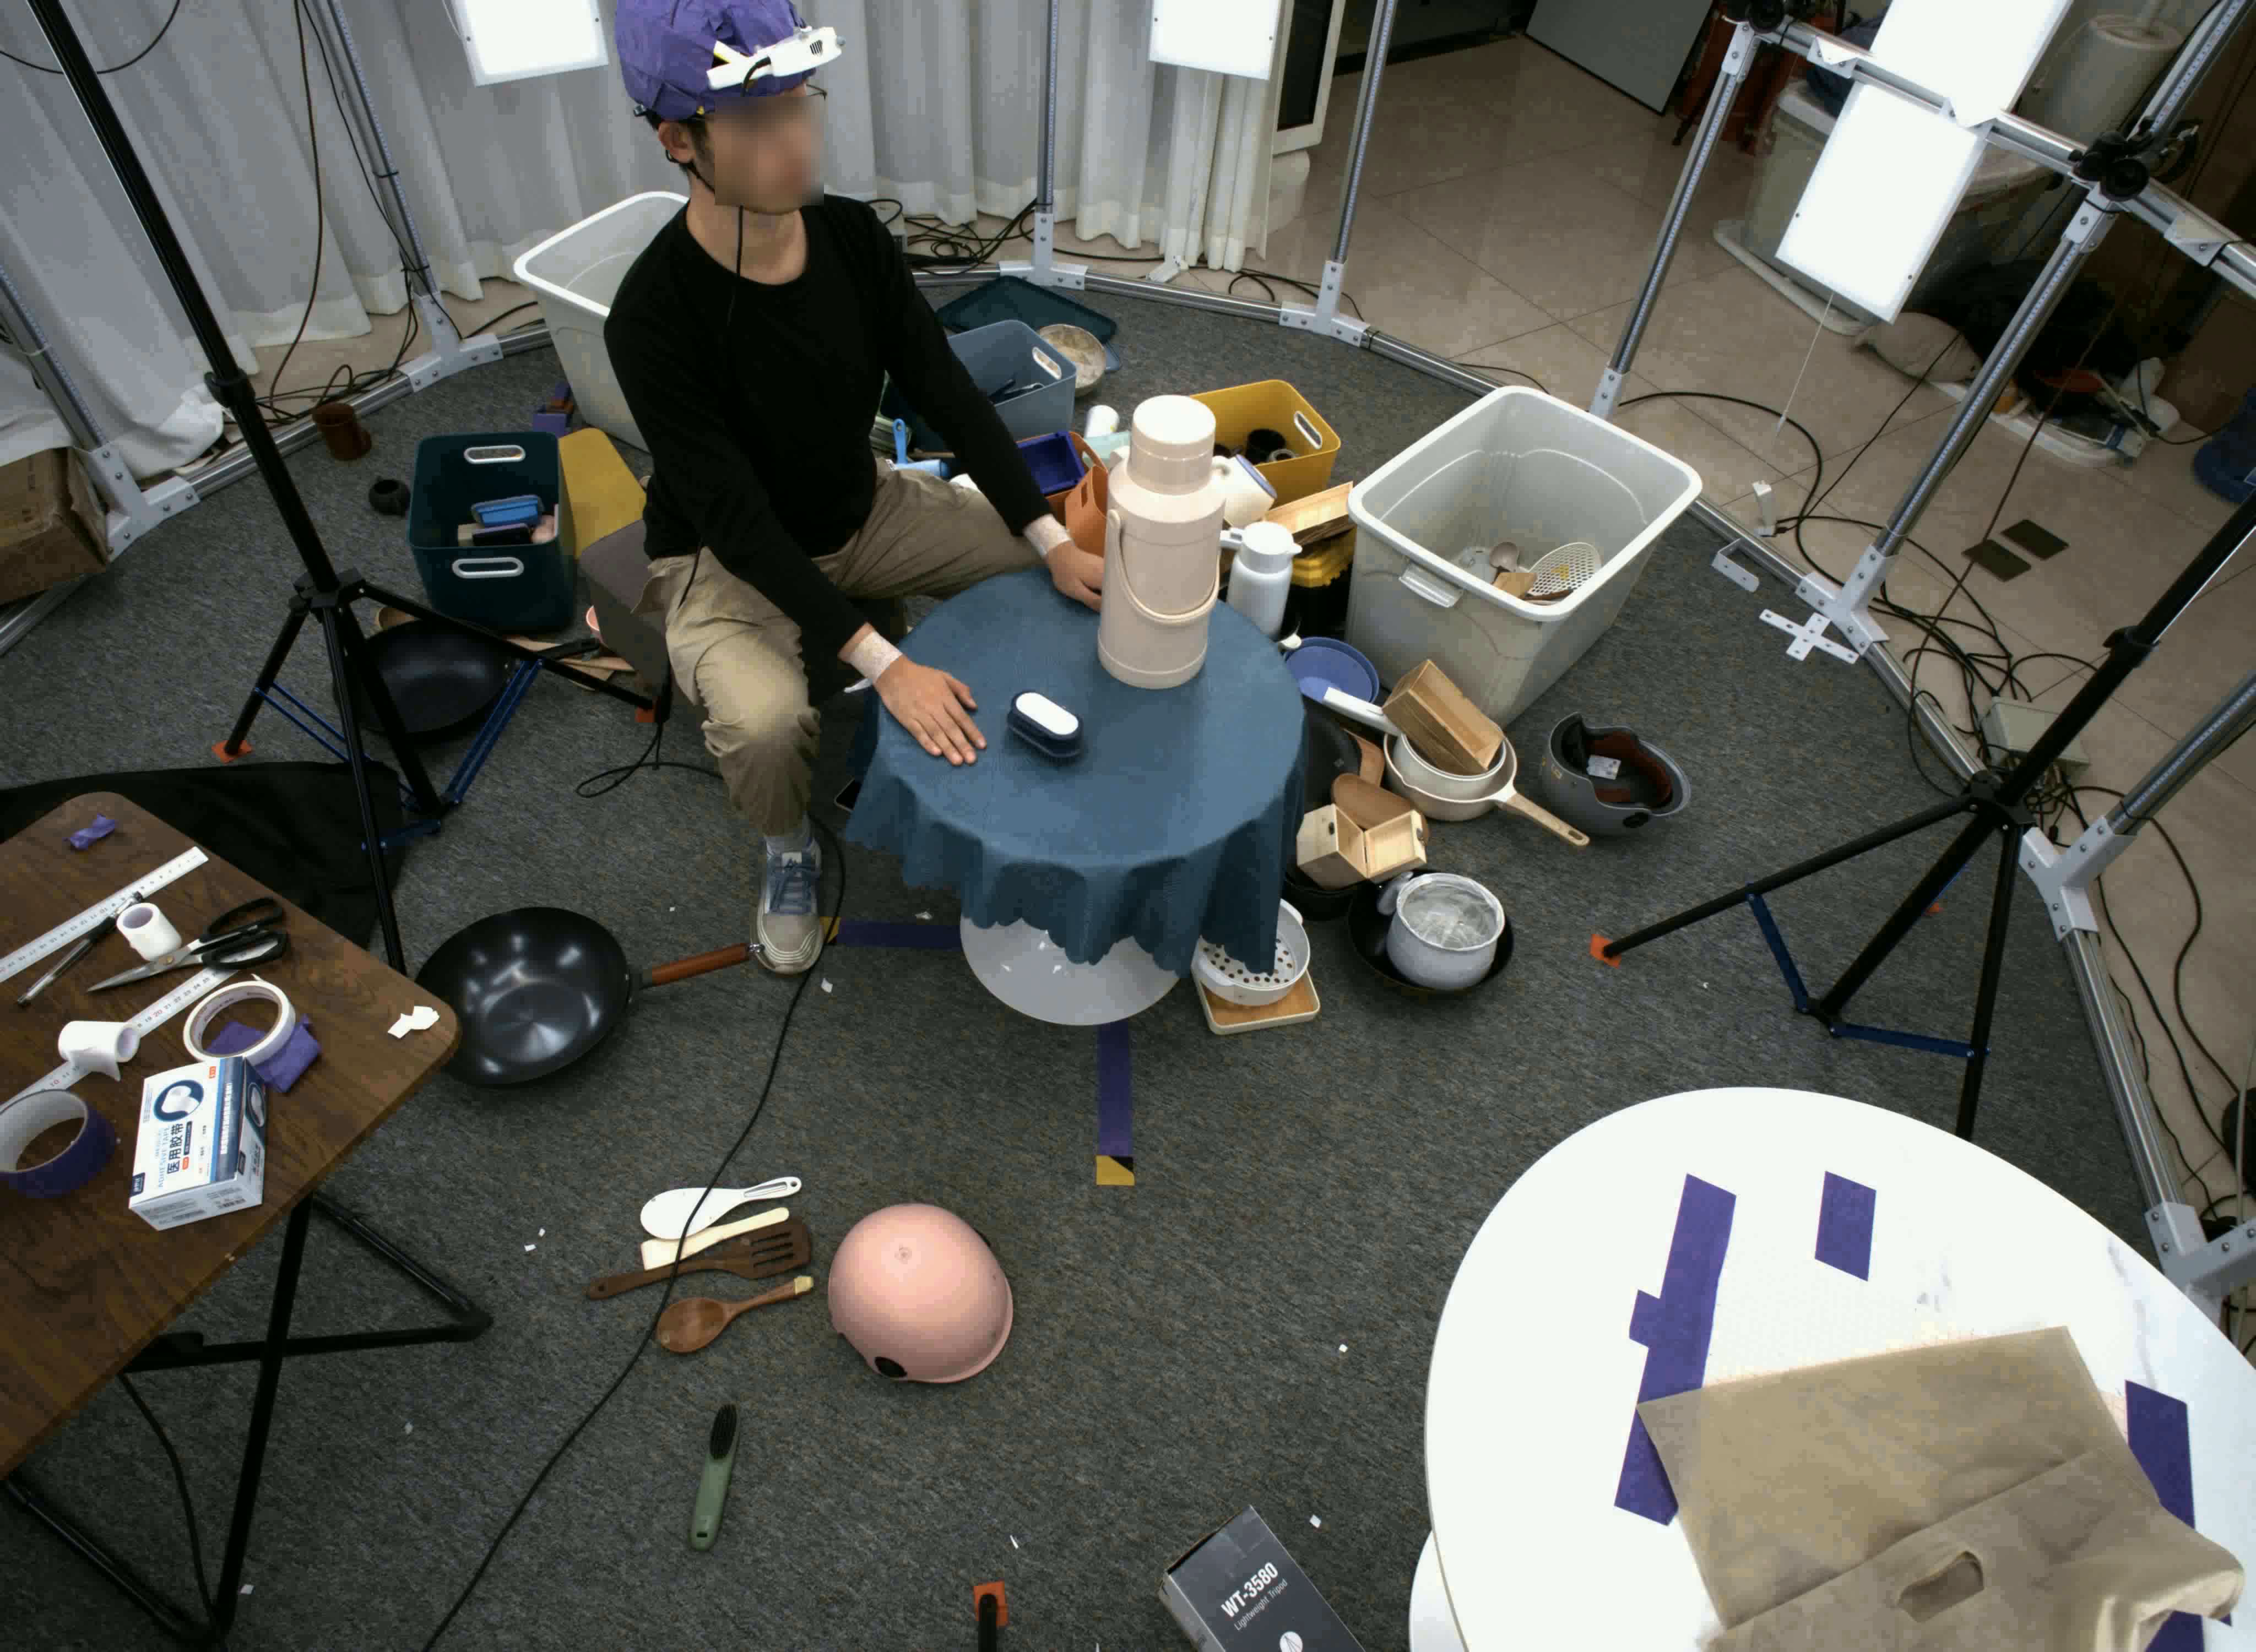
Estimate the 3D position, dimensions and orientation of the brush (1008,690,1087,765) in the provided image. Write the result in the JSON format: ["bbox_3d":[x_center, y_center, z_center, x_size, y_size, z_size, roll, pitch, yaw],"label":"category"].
[{"bbox_3d":[-0.109,-0.132,1.742,0.123,0.060,0.068,35,53,23],"label":"brush"}]

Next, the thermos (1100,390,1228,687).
[{"bbox_3d":[0.041,-0.394,1.758,0.176,0.396,0.211,-27,57,-23],"label":"thermos"}]
